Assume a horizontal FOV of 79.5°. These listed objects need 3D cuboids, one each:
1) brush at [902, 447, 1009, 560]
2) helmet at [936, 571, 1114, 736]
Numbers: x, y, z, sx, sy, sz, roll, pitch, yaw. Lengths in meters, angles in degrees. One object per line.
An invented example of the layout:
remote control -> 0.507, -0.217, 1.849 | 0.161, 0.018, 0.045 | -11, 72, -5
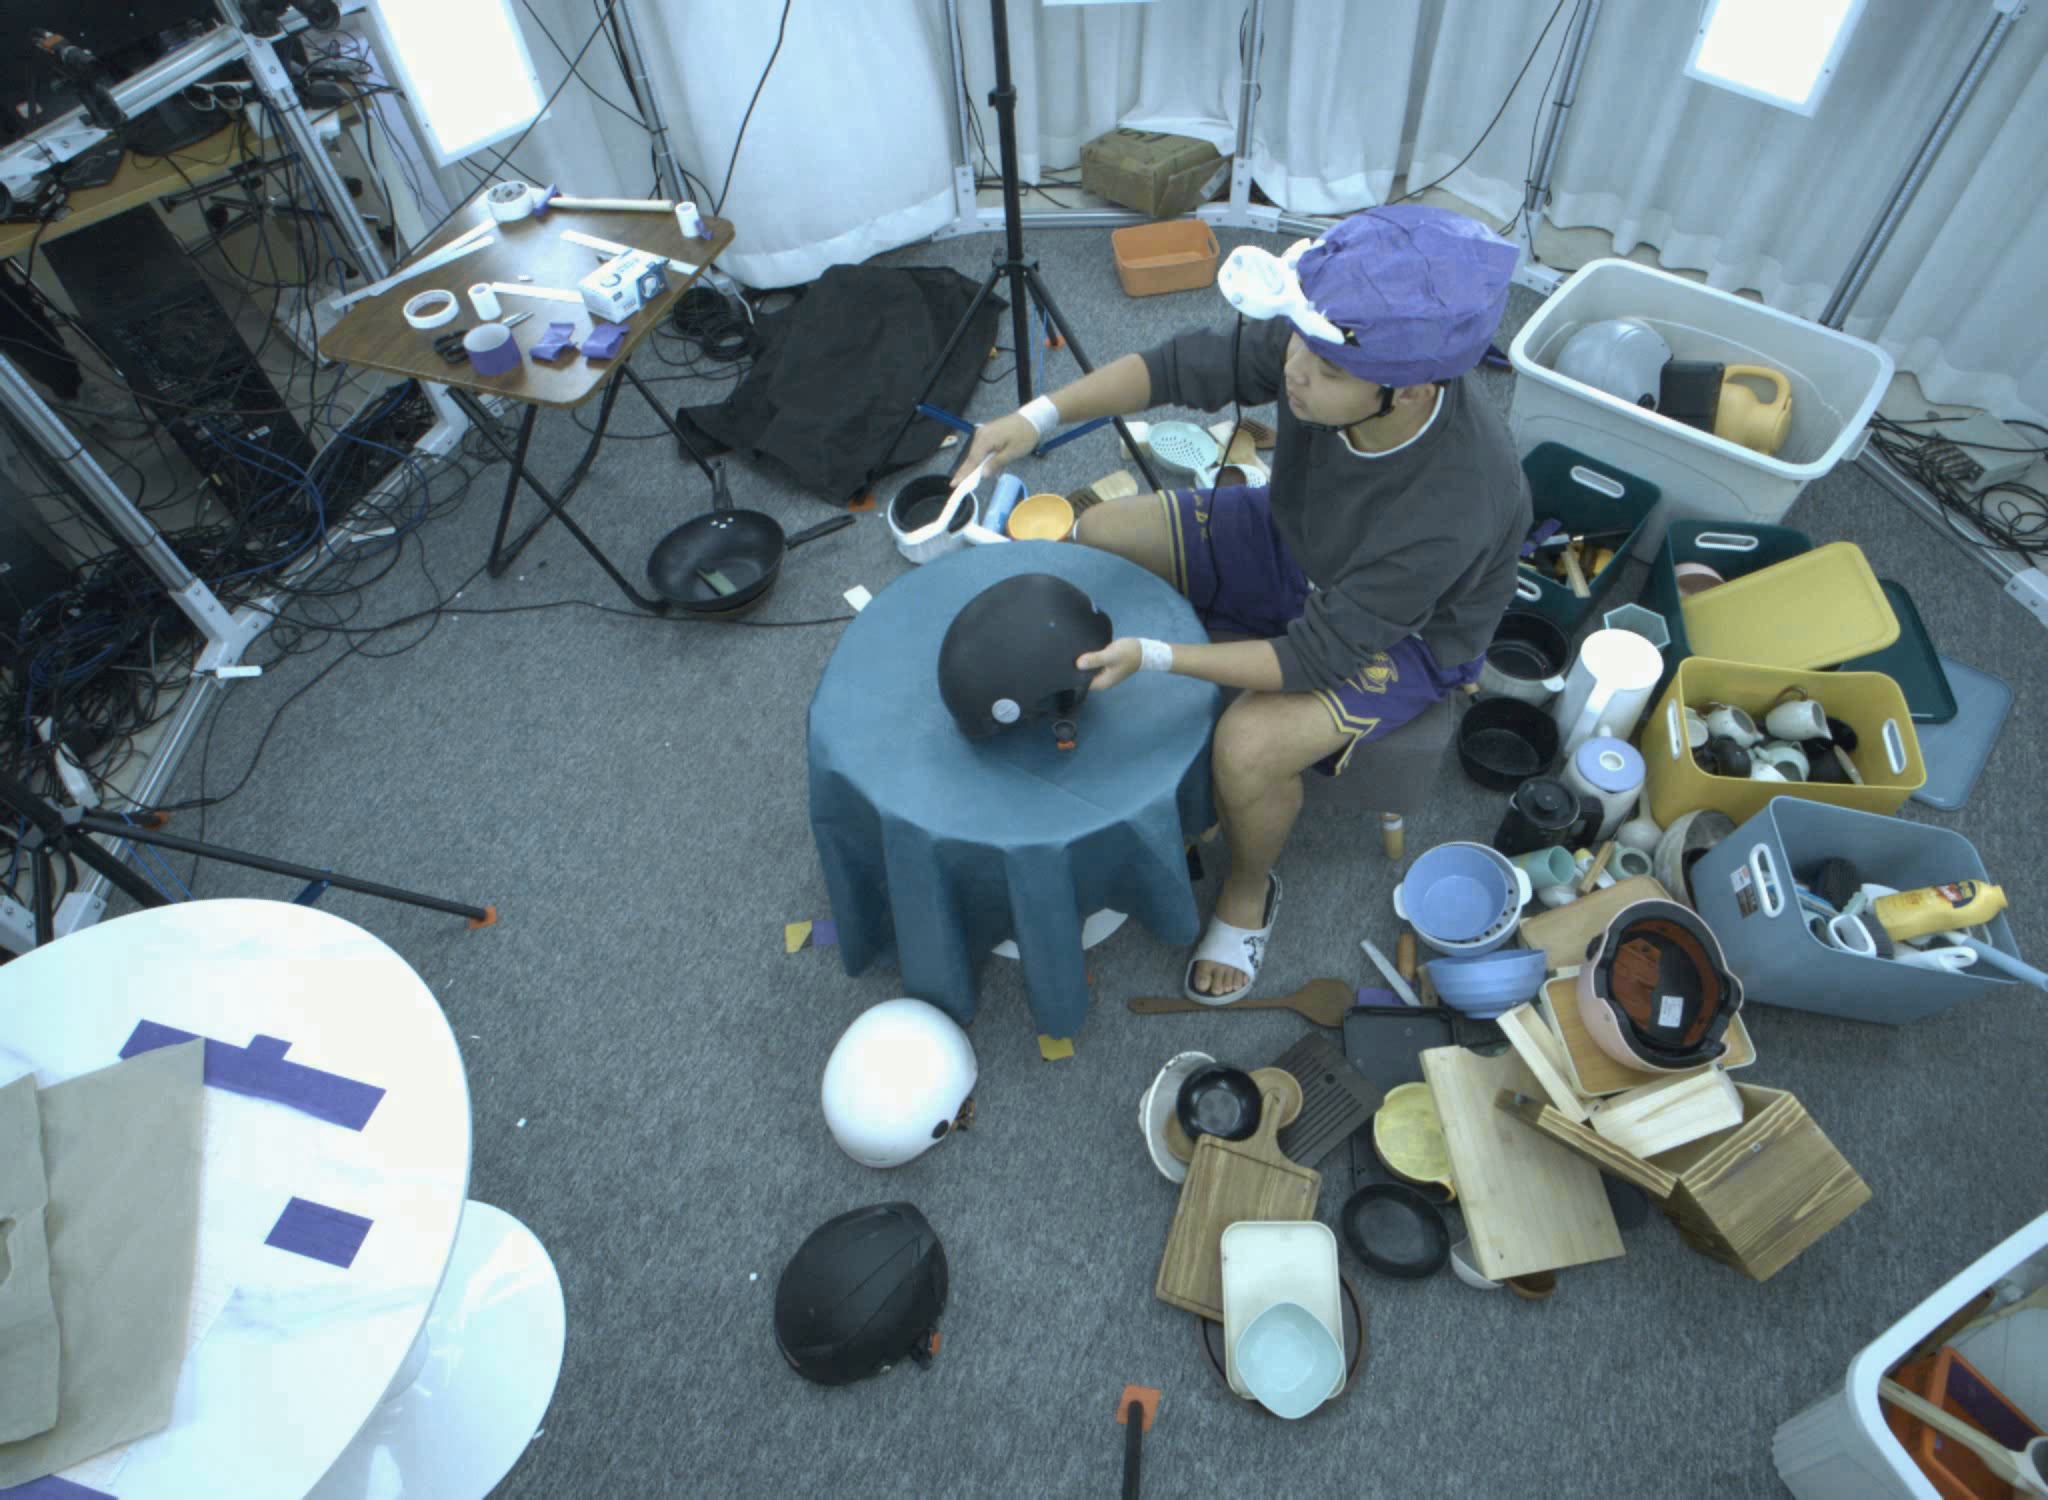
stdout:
brush -> -0.090, -0.352, 1.750 | 0.033, 0.051, 0.245 | 4, 45, 49
helmet -> -0.018, -0.153, 1.745 | 0.271, 0.170, 0.227 | -26, 30, 12
